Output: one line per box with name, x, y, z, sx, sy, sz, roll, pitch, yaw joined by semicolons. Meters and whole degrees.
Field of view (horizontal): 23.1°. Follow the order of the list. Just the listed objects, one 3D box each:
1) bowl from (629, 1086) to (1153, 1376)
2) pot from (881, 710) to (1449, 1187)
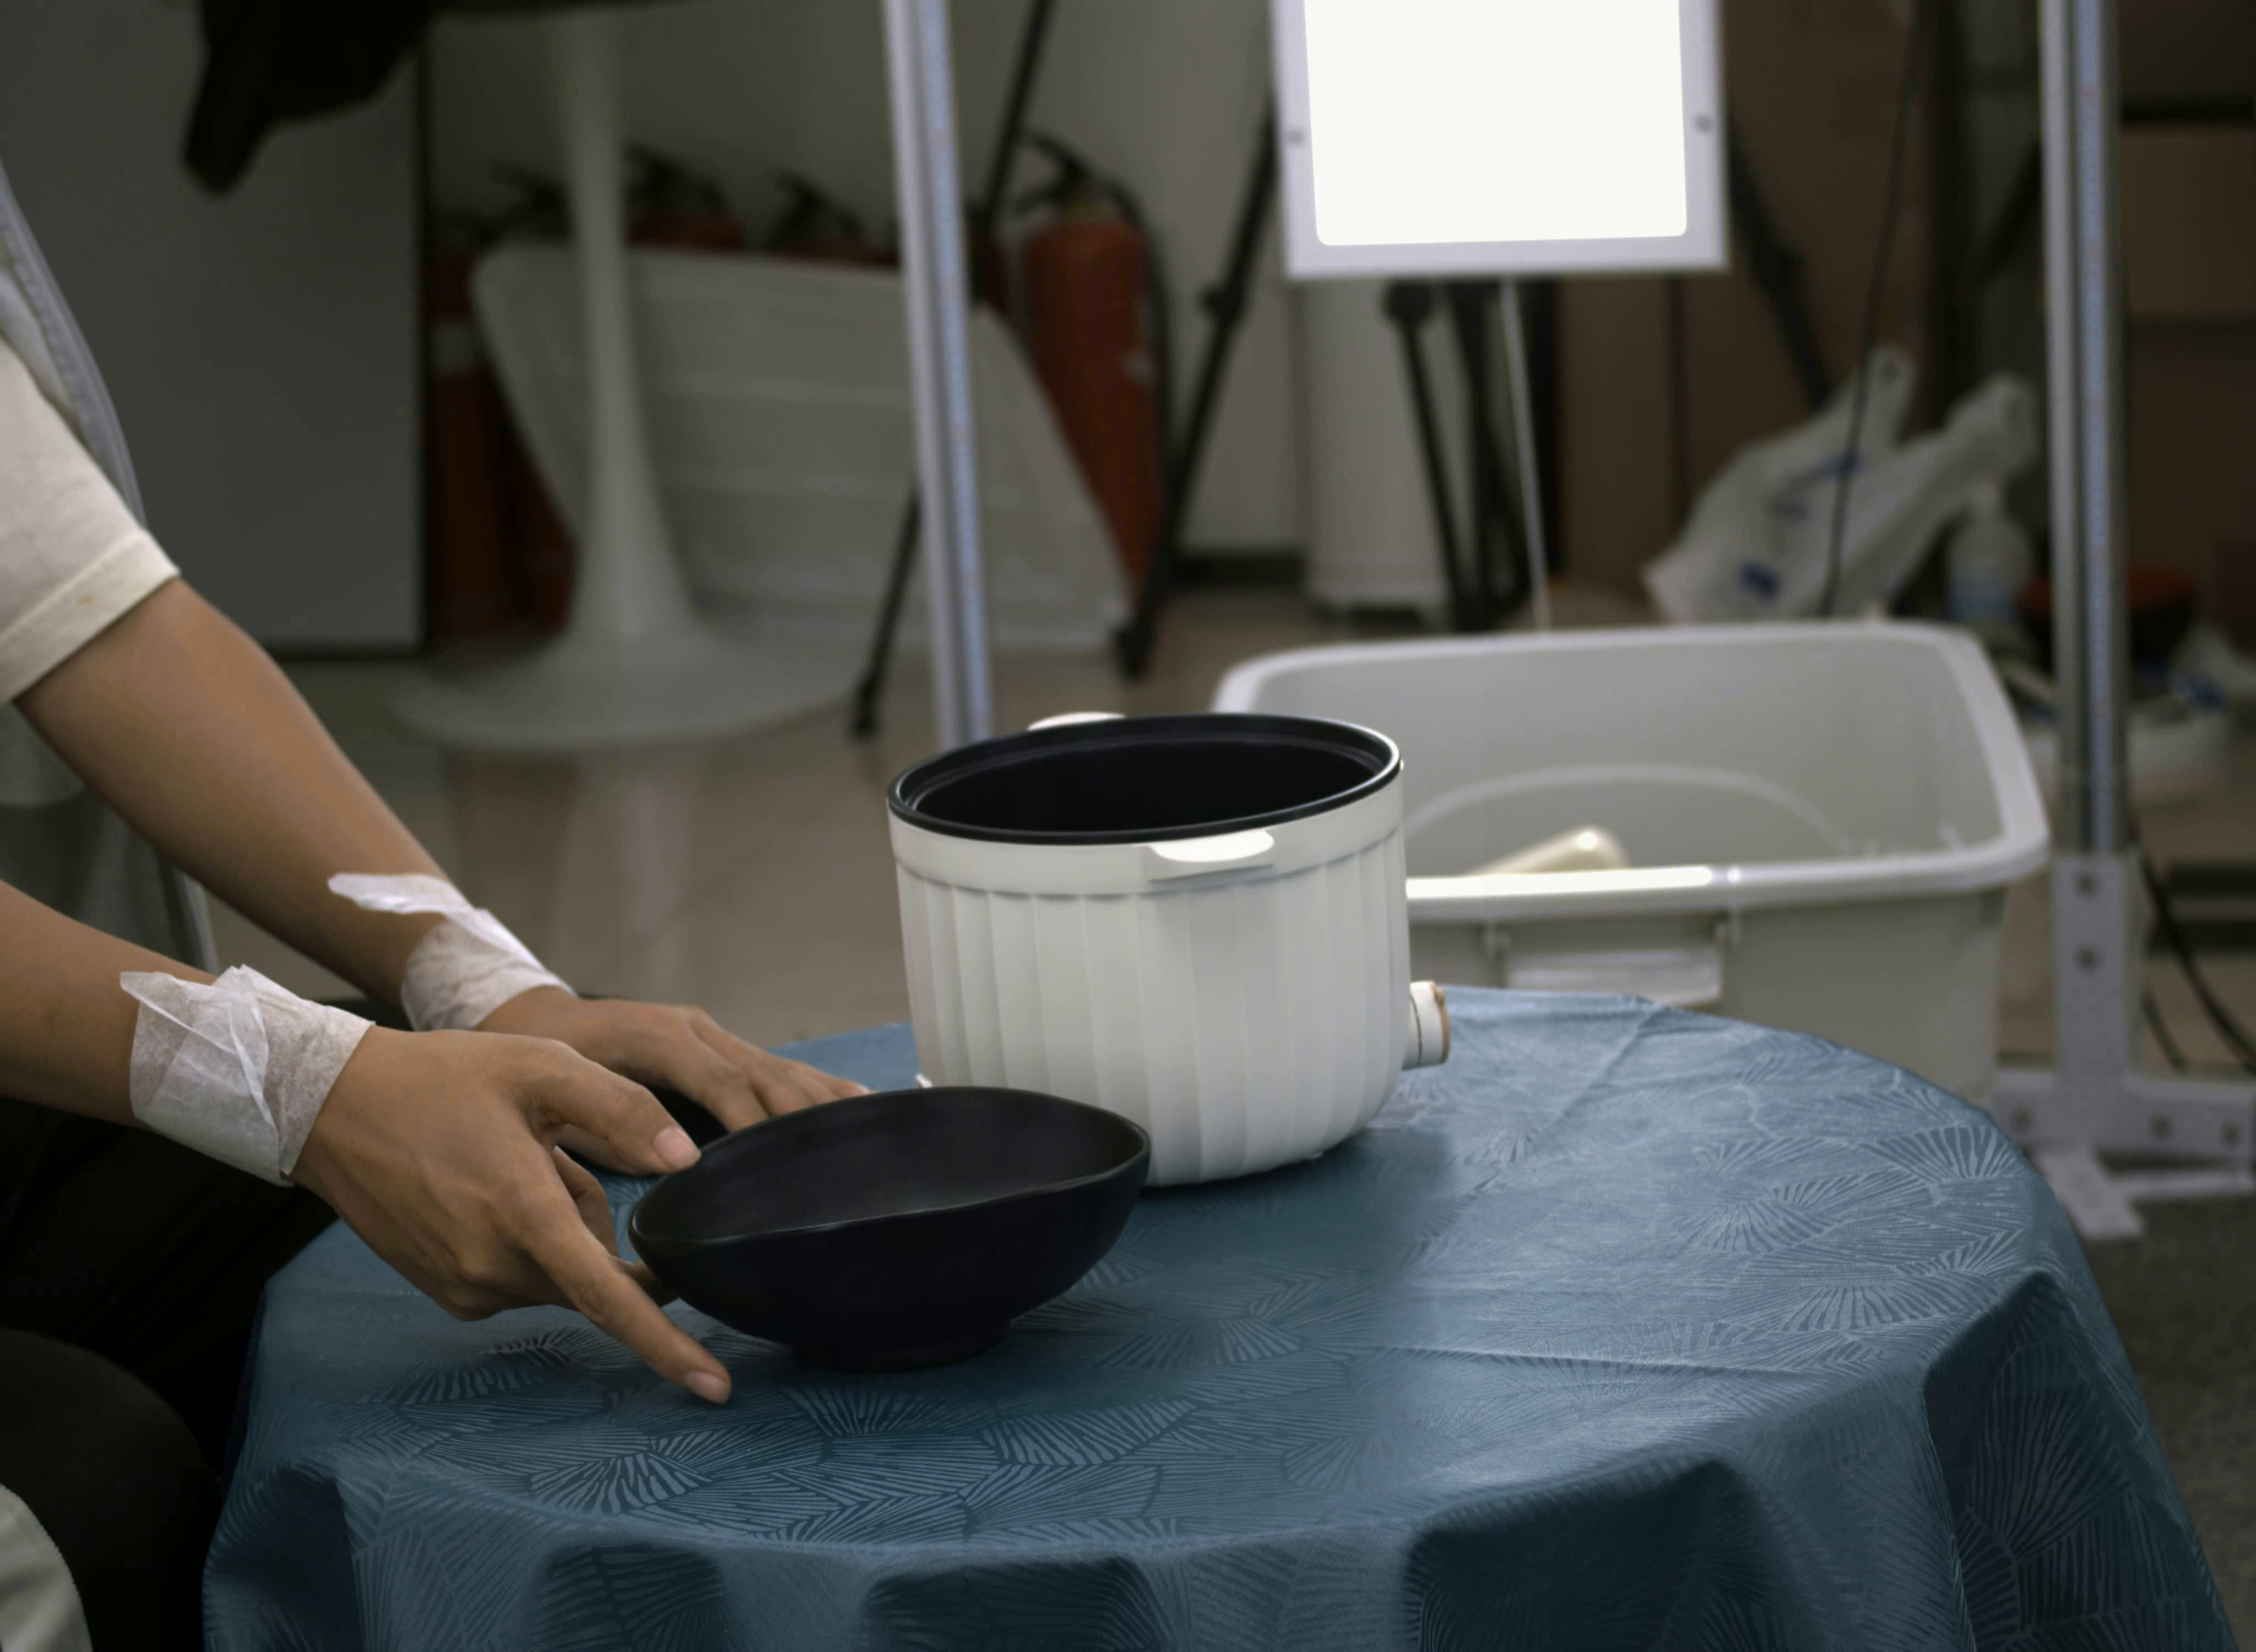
bowl;-0.073;0.134;1.757;0.168;0.067;0.138;-9;12;-11
pot;0.015;0.044;1.939;0.188;0.143;0.242;-11;15;-11
